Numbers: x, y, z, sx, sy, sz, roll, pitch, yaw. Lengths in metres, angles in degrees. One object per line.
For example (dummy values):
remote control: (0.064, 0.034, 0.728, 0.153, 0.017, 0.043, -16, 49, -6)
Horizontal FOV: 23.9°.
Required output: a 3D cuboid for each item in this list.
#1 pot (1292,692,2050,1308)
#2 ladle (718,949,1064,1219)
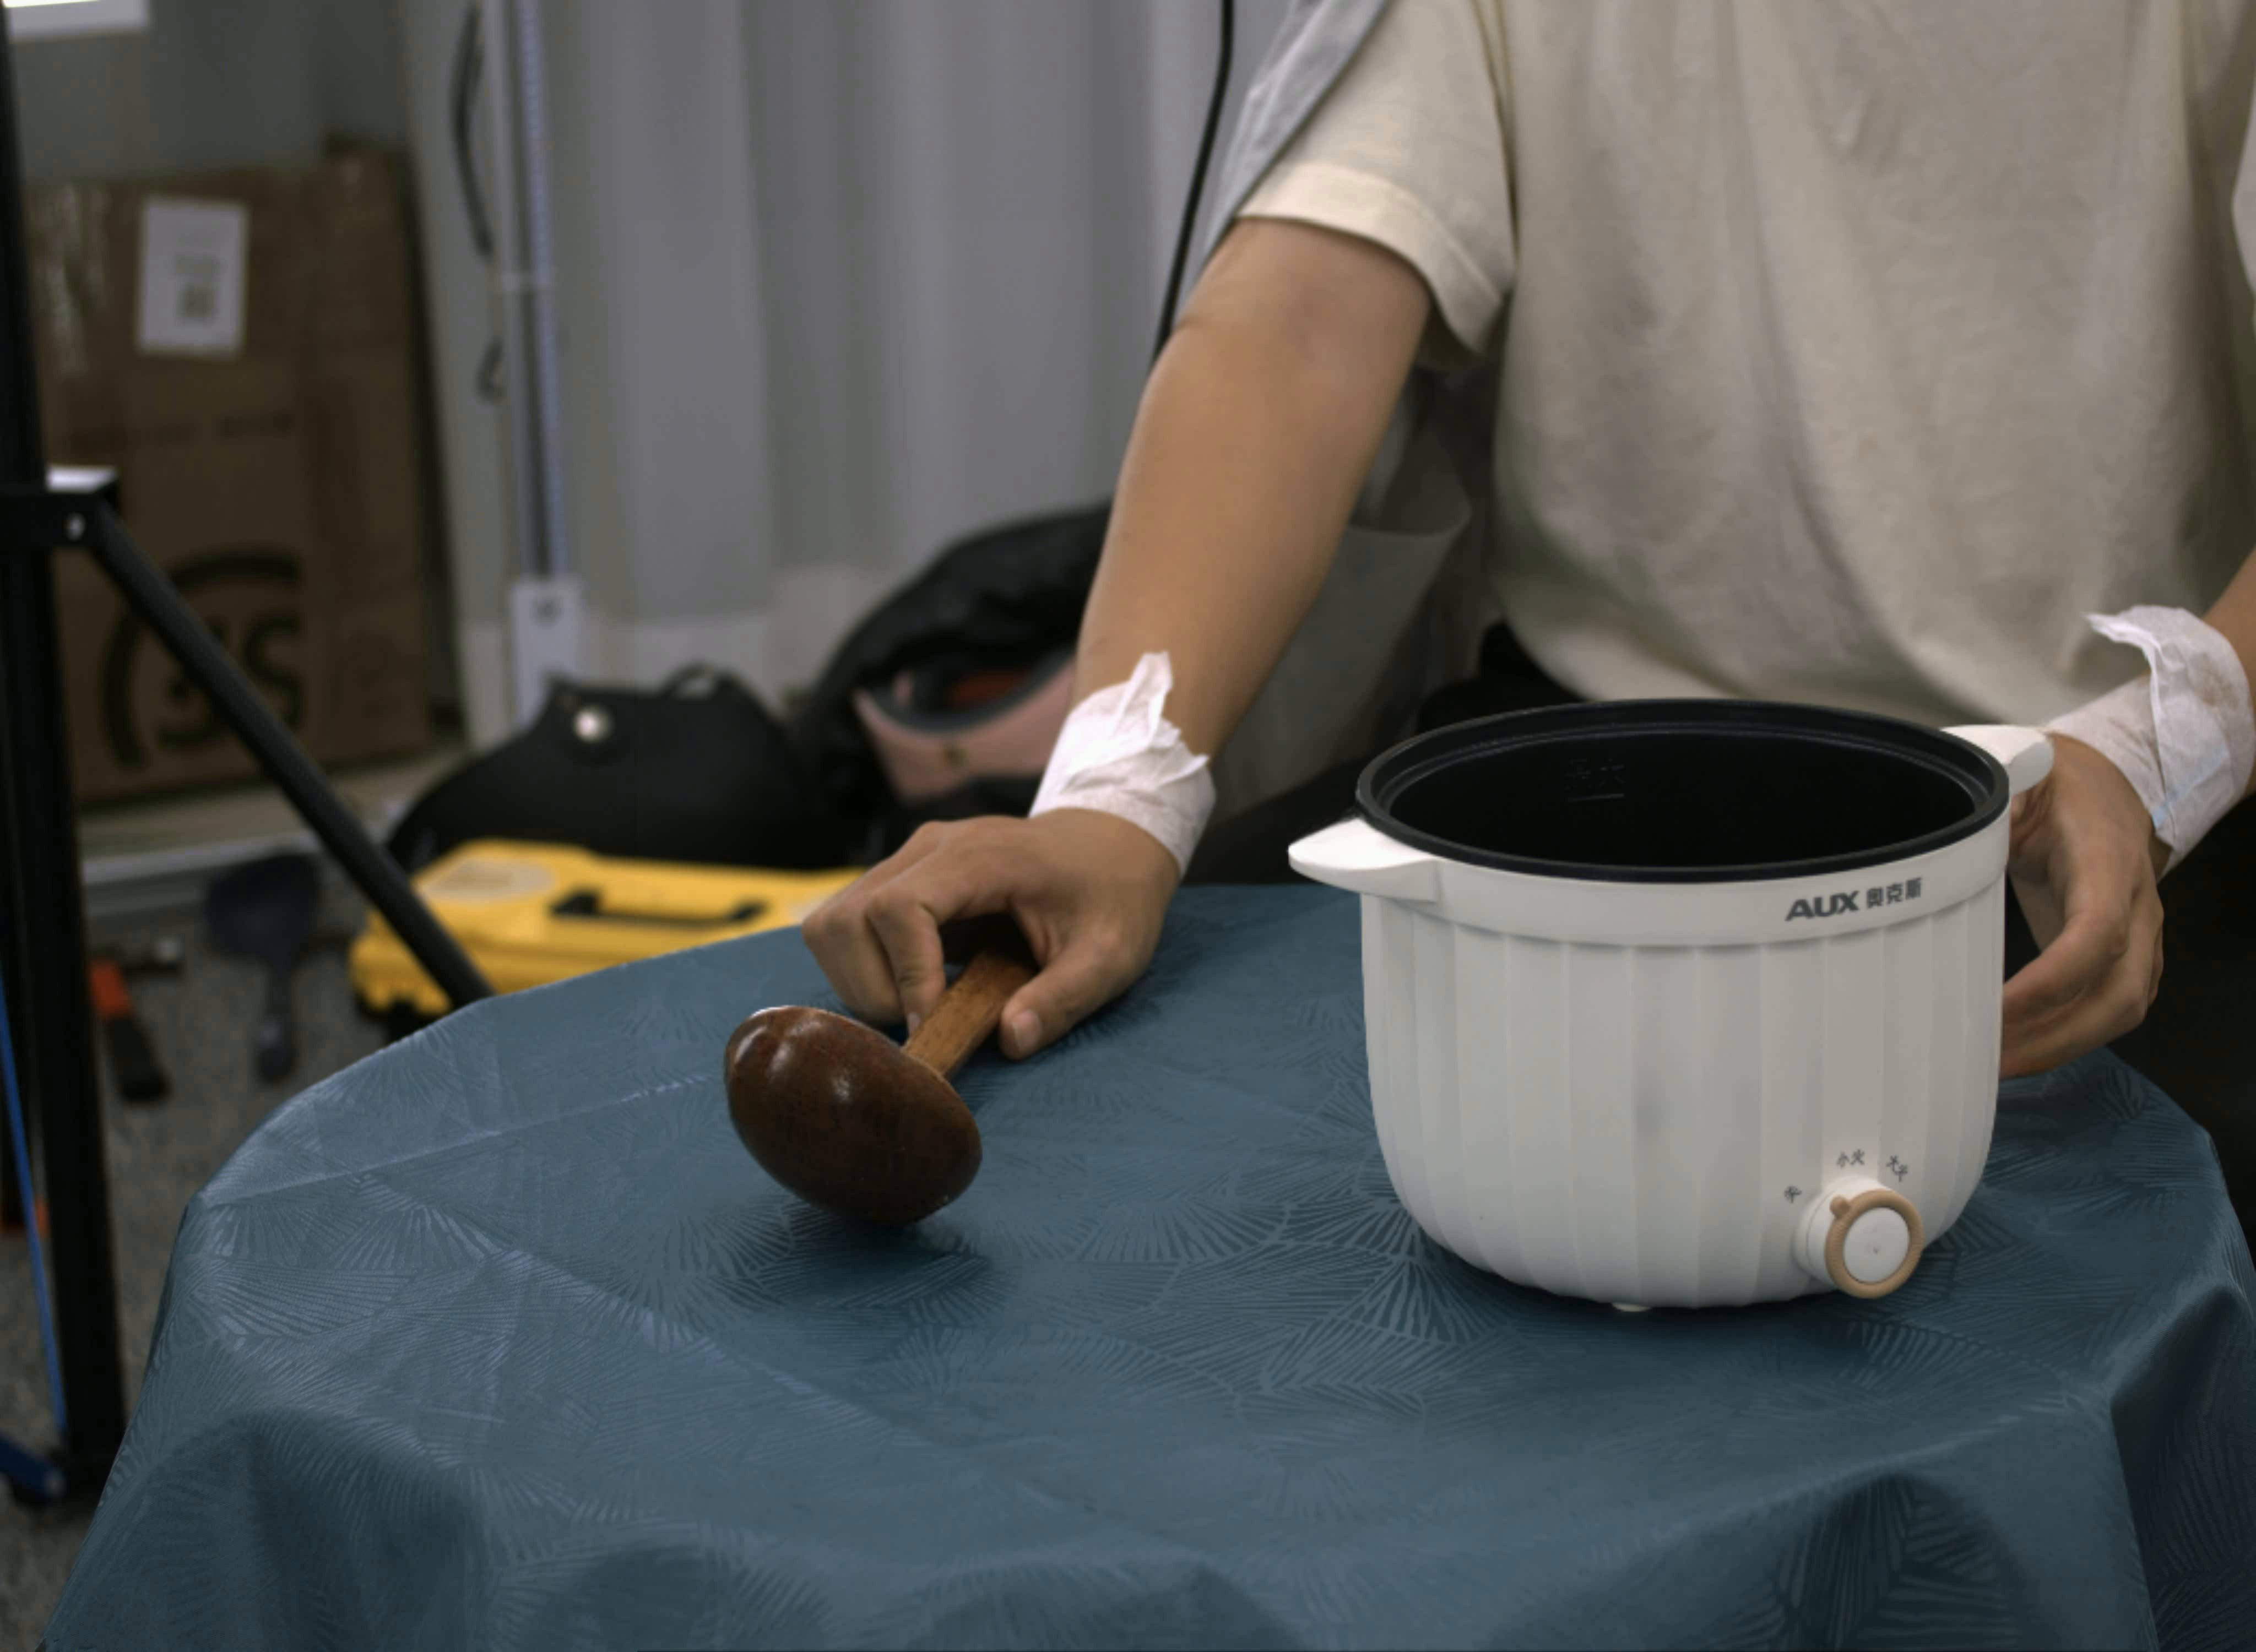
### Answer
pot: (0.159, 0.051, 1.475, 0.235, 0.143, 0.194, -10, 14, -23)
ladle: (-0.055, 0.055, 1.616, 0.082, 0.077, 0.271, 32, 21, 5)
